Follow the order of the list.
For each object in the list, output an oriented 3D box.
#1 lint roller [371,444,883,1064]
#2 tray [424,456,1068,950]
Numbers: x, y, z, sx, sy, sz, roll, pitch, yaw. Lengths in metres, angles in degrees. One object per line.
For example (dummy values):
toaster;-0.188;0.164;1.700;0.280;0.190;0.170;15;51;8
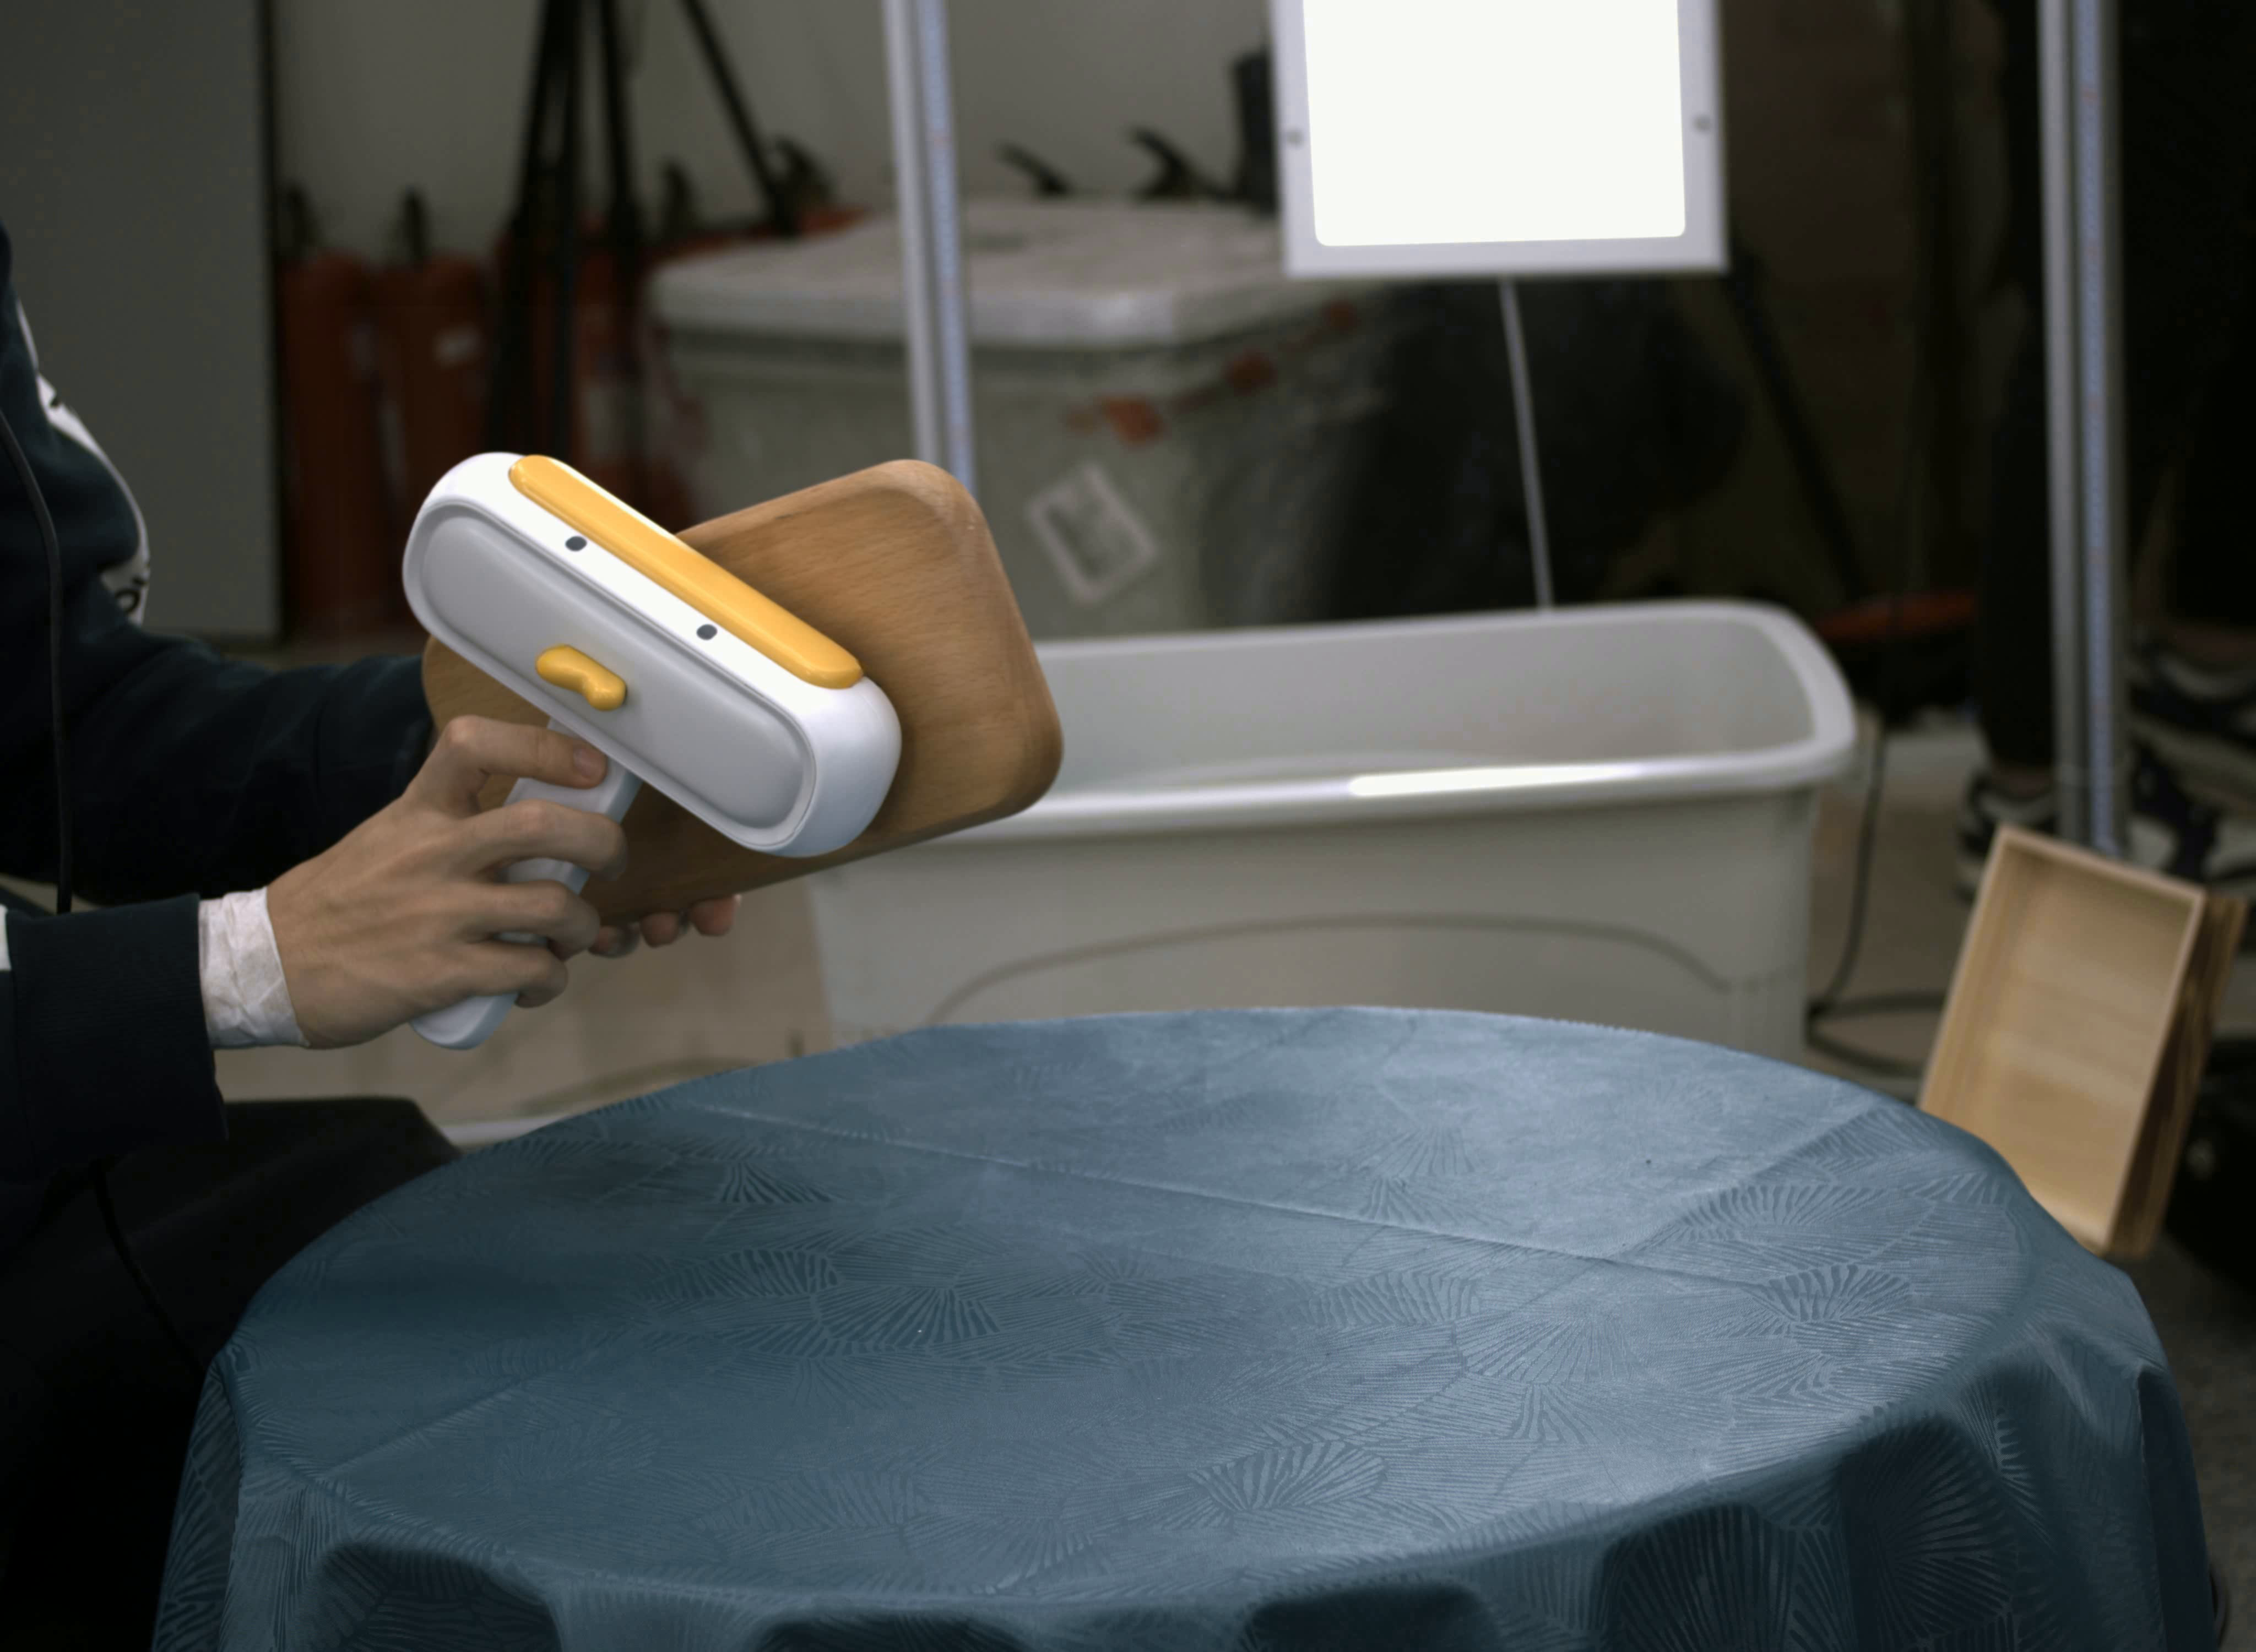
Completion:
lint roller;-0.193;-0.010;1.879;0.194;0.194;0.073;28;22;16
tray;-0.137;-0.039;1.897;0.256;0.131;0.022;-18;5;35
